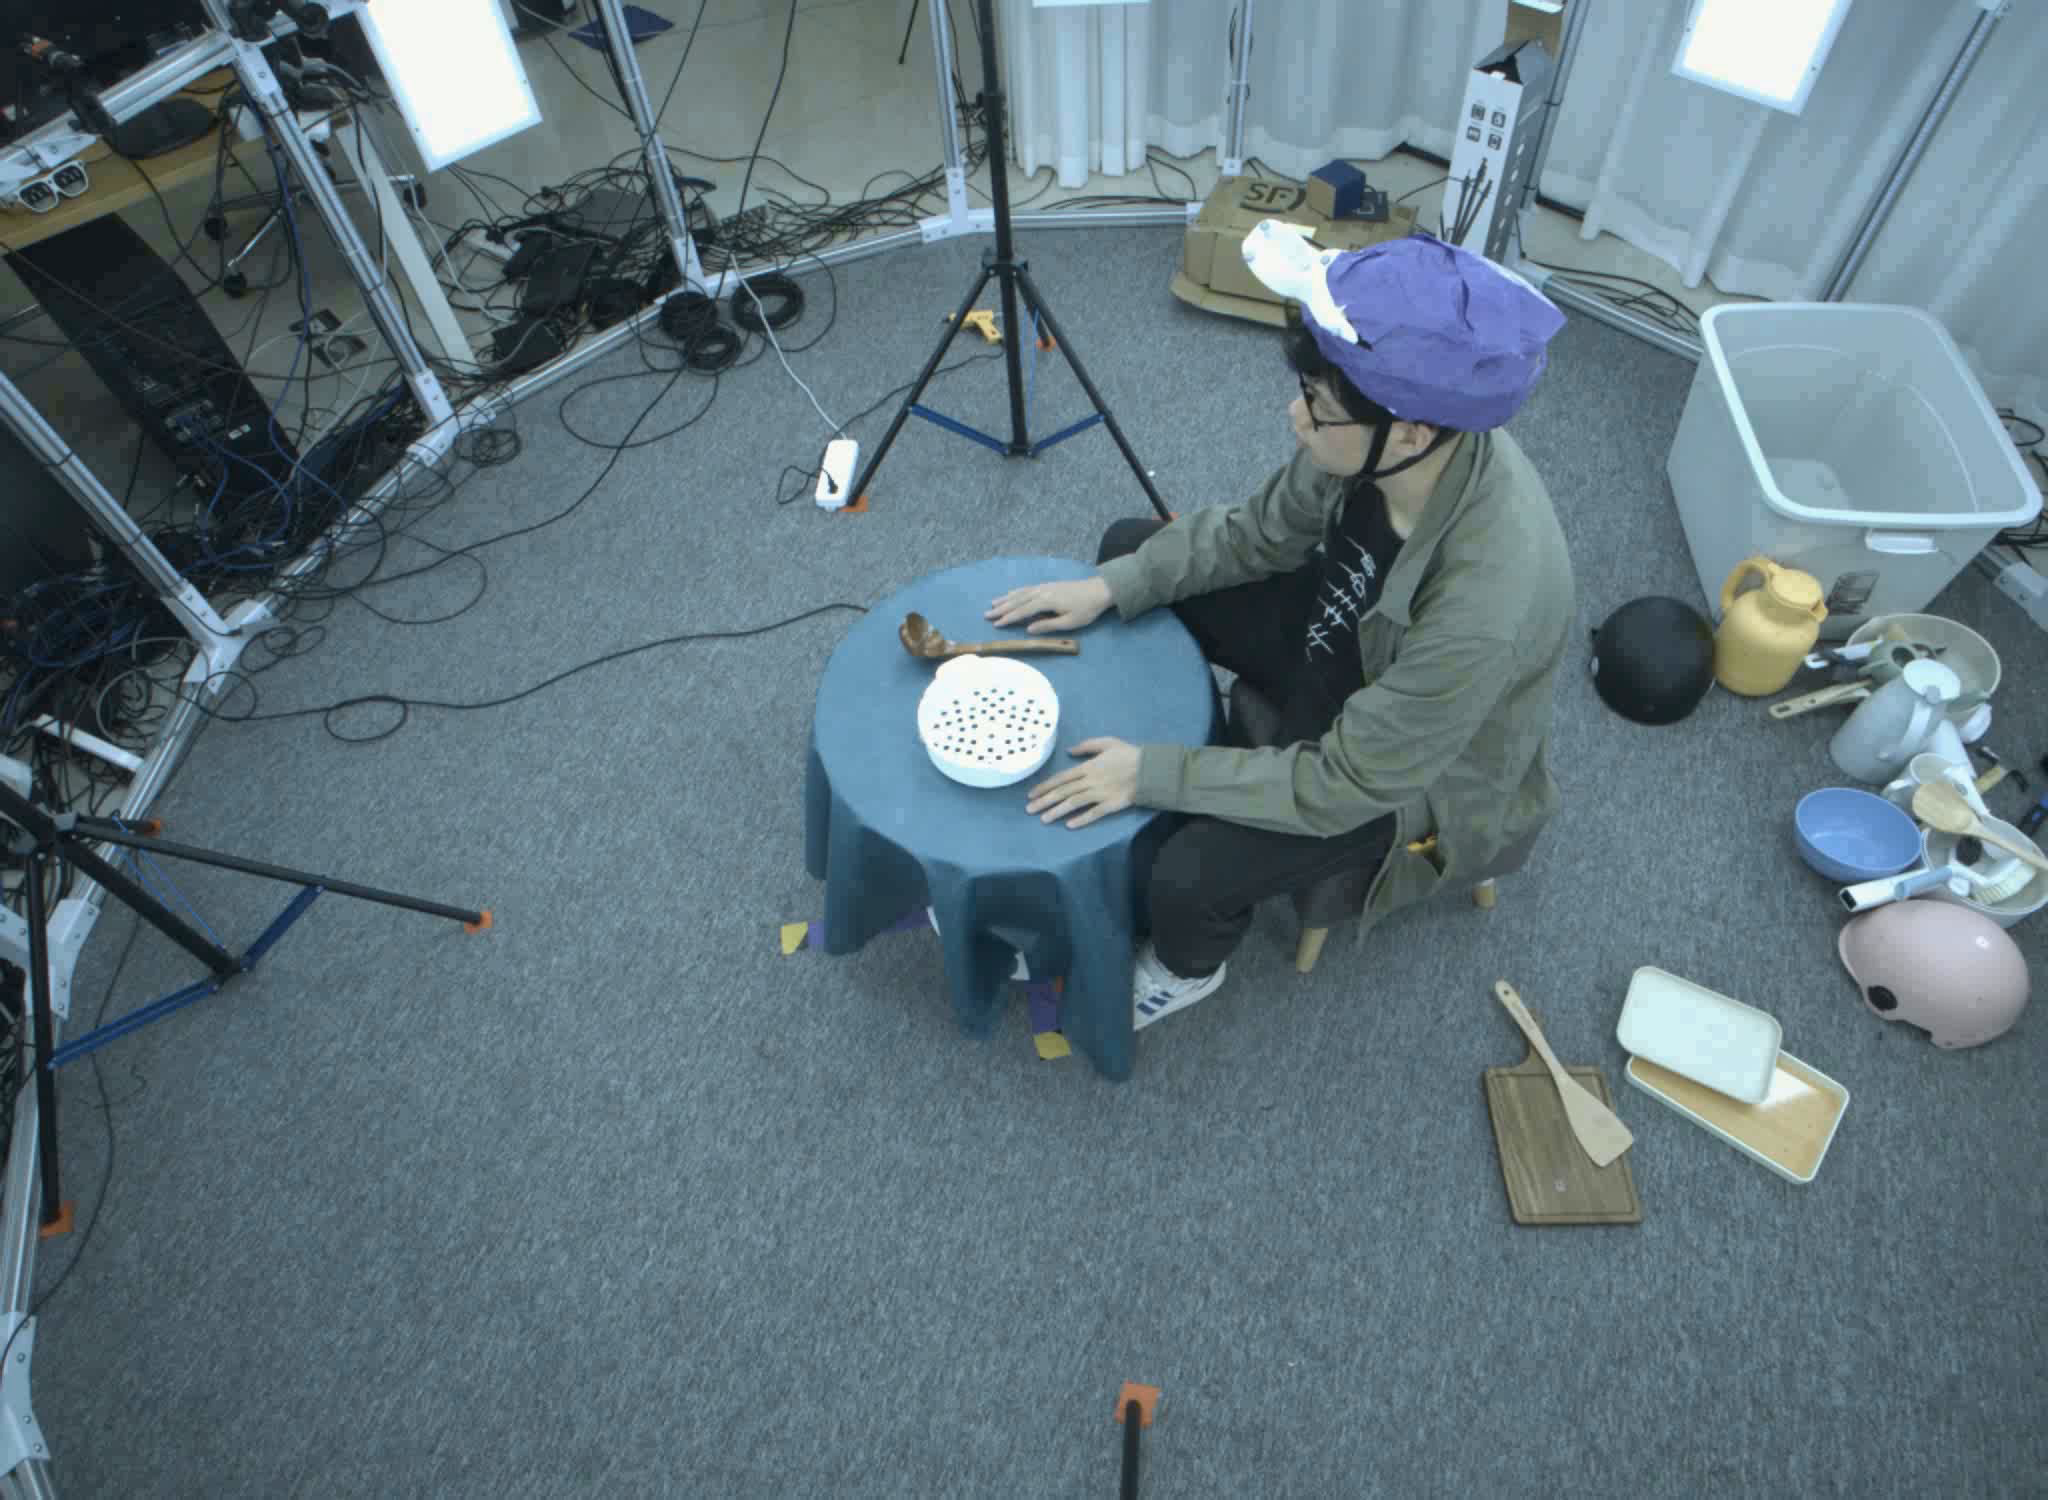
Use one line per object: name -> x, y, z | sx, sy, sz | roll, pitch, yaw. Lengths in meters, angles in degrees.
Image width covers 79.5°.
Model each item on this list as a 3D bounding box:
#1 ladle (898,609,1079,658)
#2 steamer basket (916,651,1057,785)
ladle -> -0.054, -0.178, 1.874 | 0.274, 0.077, 0.081 | -1, 50, 1
steamer basket -> -0.053, -0.043, 1.783 | 0.203, 0.070, 0.226 | -25, 59, -15
